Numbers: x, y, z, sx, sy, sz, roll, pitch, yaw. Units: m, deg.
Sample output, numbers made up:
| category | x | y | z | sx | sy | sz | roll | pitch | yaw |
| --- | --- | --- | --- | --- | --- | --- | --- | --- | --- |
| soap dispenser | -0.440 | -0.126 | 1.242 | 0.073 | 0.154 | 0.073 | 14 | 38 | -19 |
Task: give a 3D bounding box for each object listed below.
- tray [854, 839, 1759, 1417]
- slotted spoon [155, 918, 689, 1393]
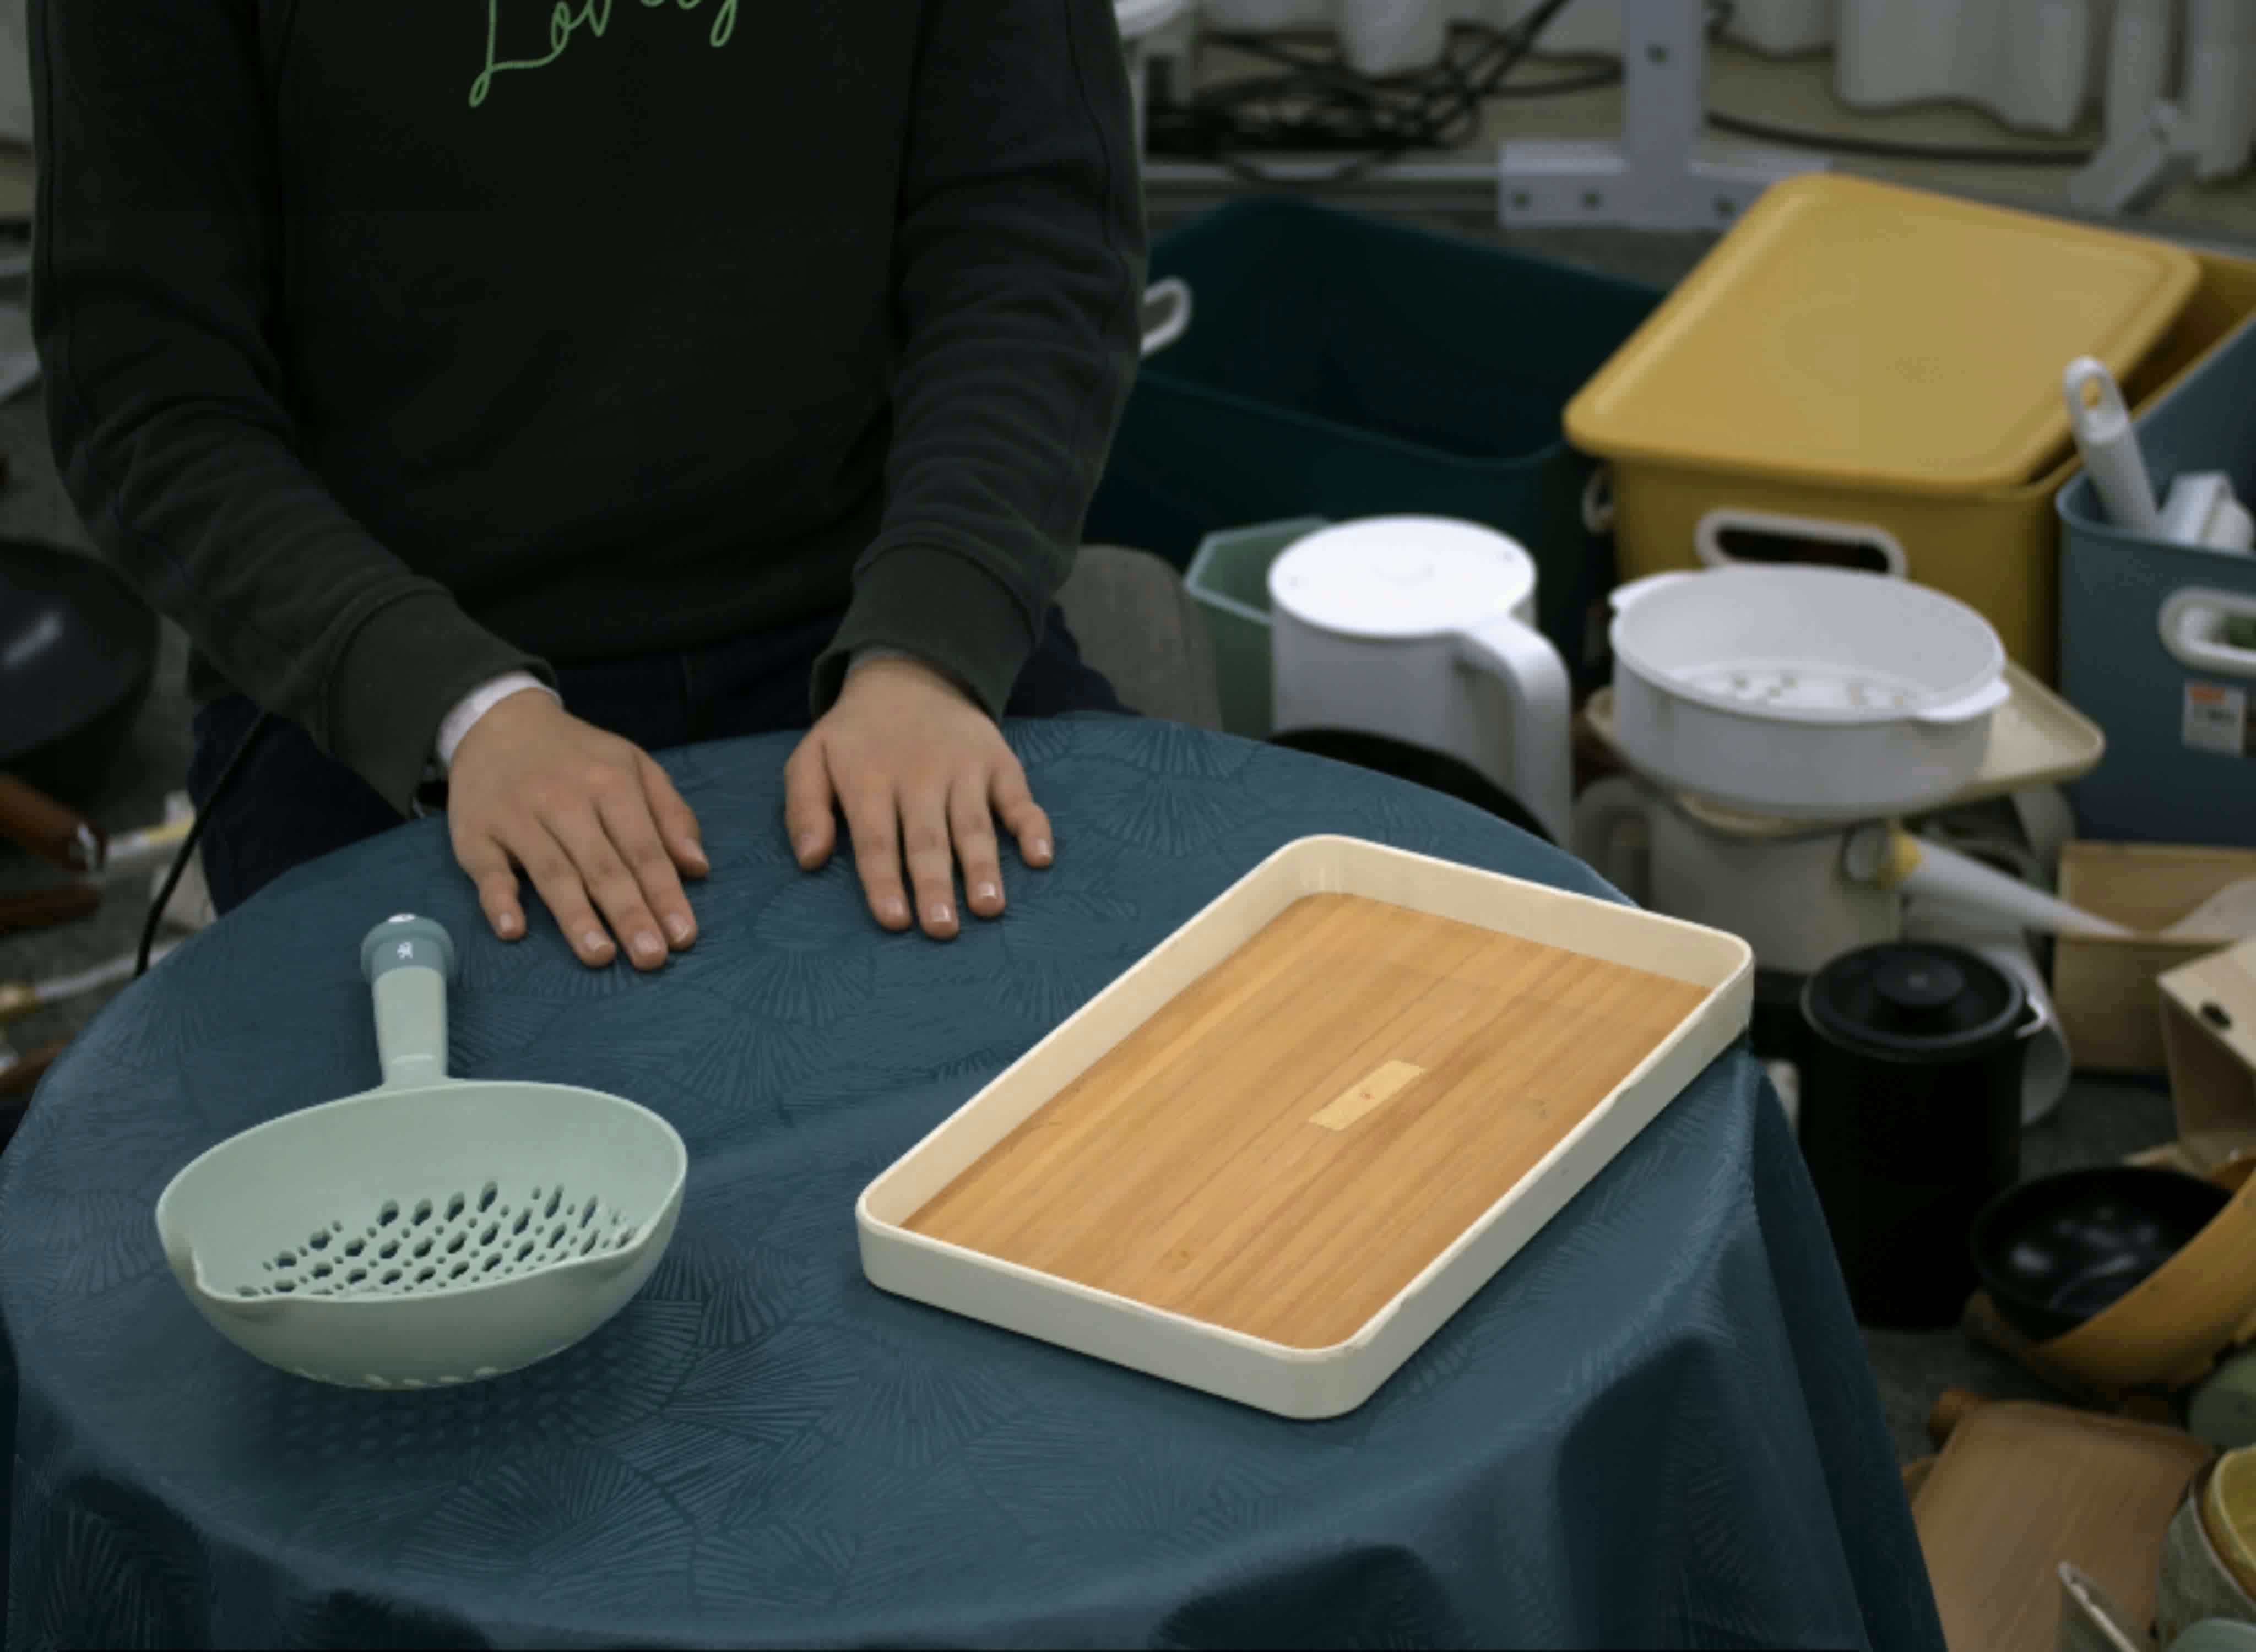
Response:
| category | x | y | z | sx | sy | sz | roll | pitch | yaw |
| --- | --- | --- | --- | --- | --- | --- | --- | --- | --- |
| tray | 0.064 | 0.094 | 1.879 | 0.190 | 0.027 | 0.305 | 14 | 31 | 30 |
| slotted spoon | -0.235 | 0.094 | 1.869 | 0.169 | 0.074 | 0.363 | -6 | 27 | -7 |
